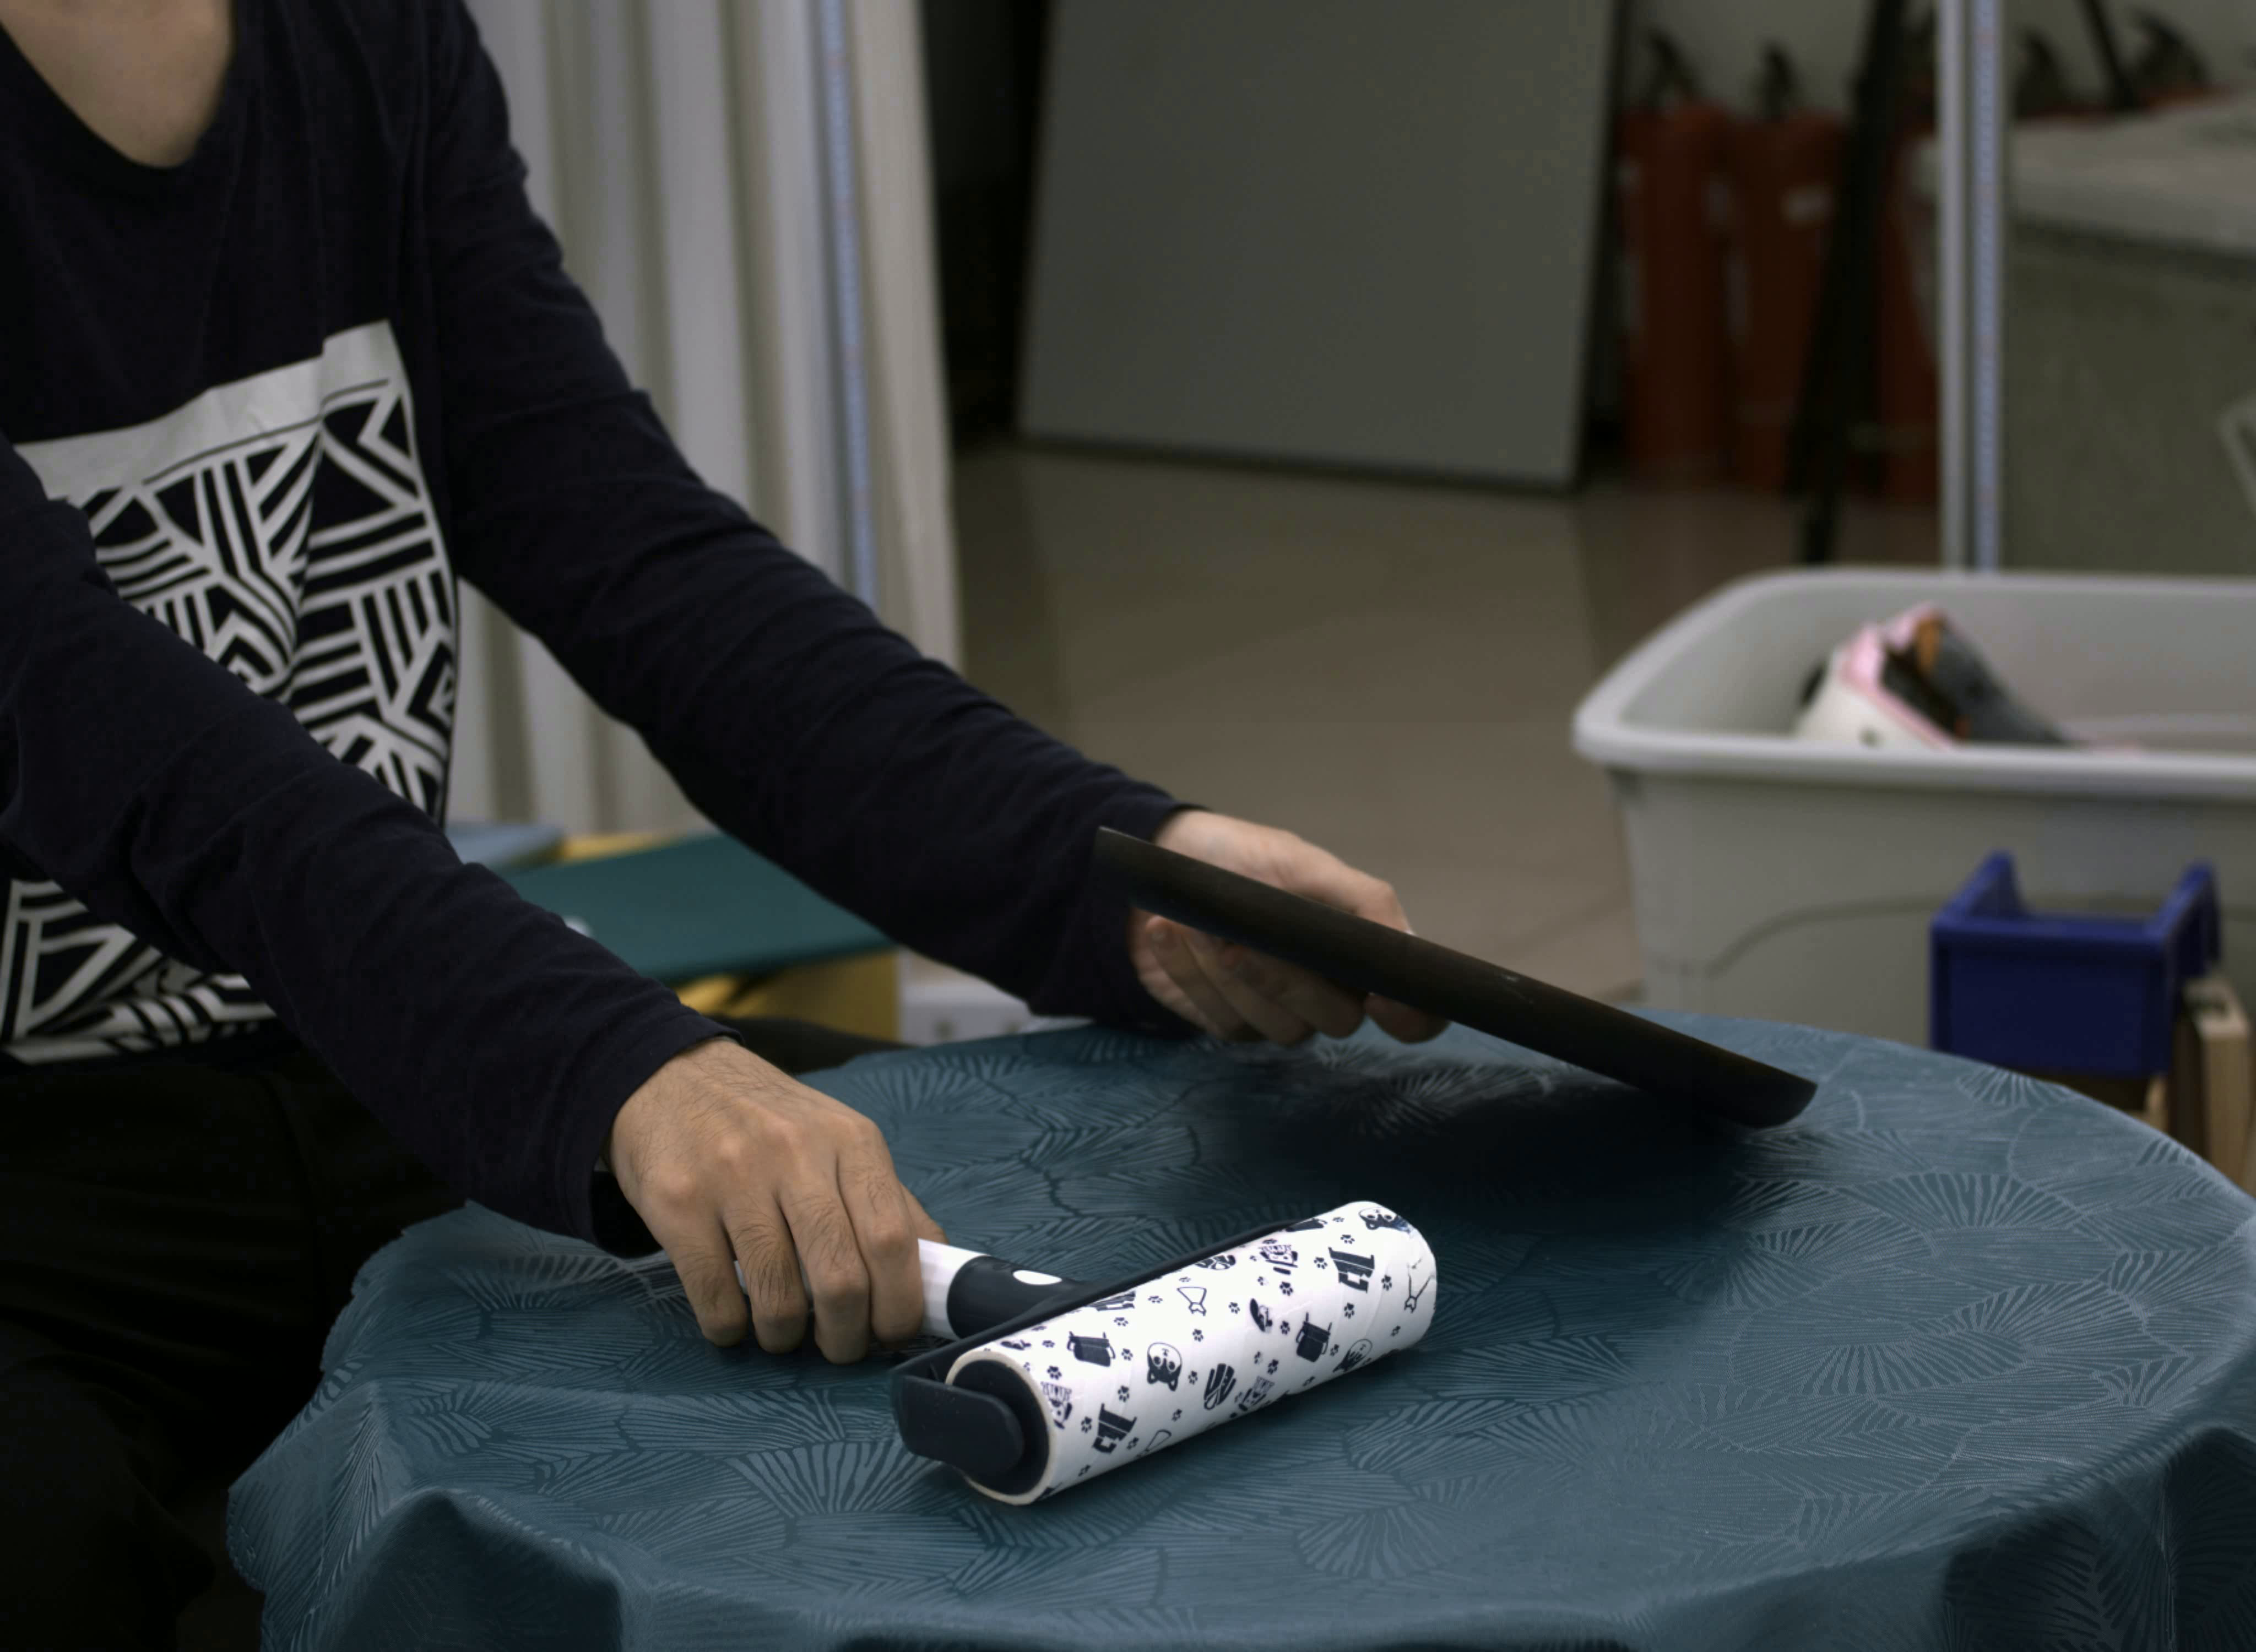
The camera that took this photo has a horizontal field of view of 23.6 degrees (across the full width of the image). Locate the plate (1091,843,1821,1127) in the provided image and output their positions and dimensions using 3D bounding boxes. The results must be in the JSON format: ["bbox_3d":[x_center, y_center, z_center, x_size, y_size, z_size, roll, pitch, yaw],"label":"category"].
[{"bbox_3d":[0.106,0.052,1.770,0.252,0.029,0.255,19,-3,0],"label":"plate"}]

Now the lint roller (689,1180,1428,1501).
[{"bbox_3d":[-0.052,0.140,1.623,0.173,0.051,0.249,-18,17,-41],"label":"lint roller"}]
